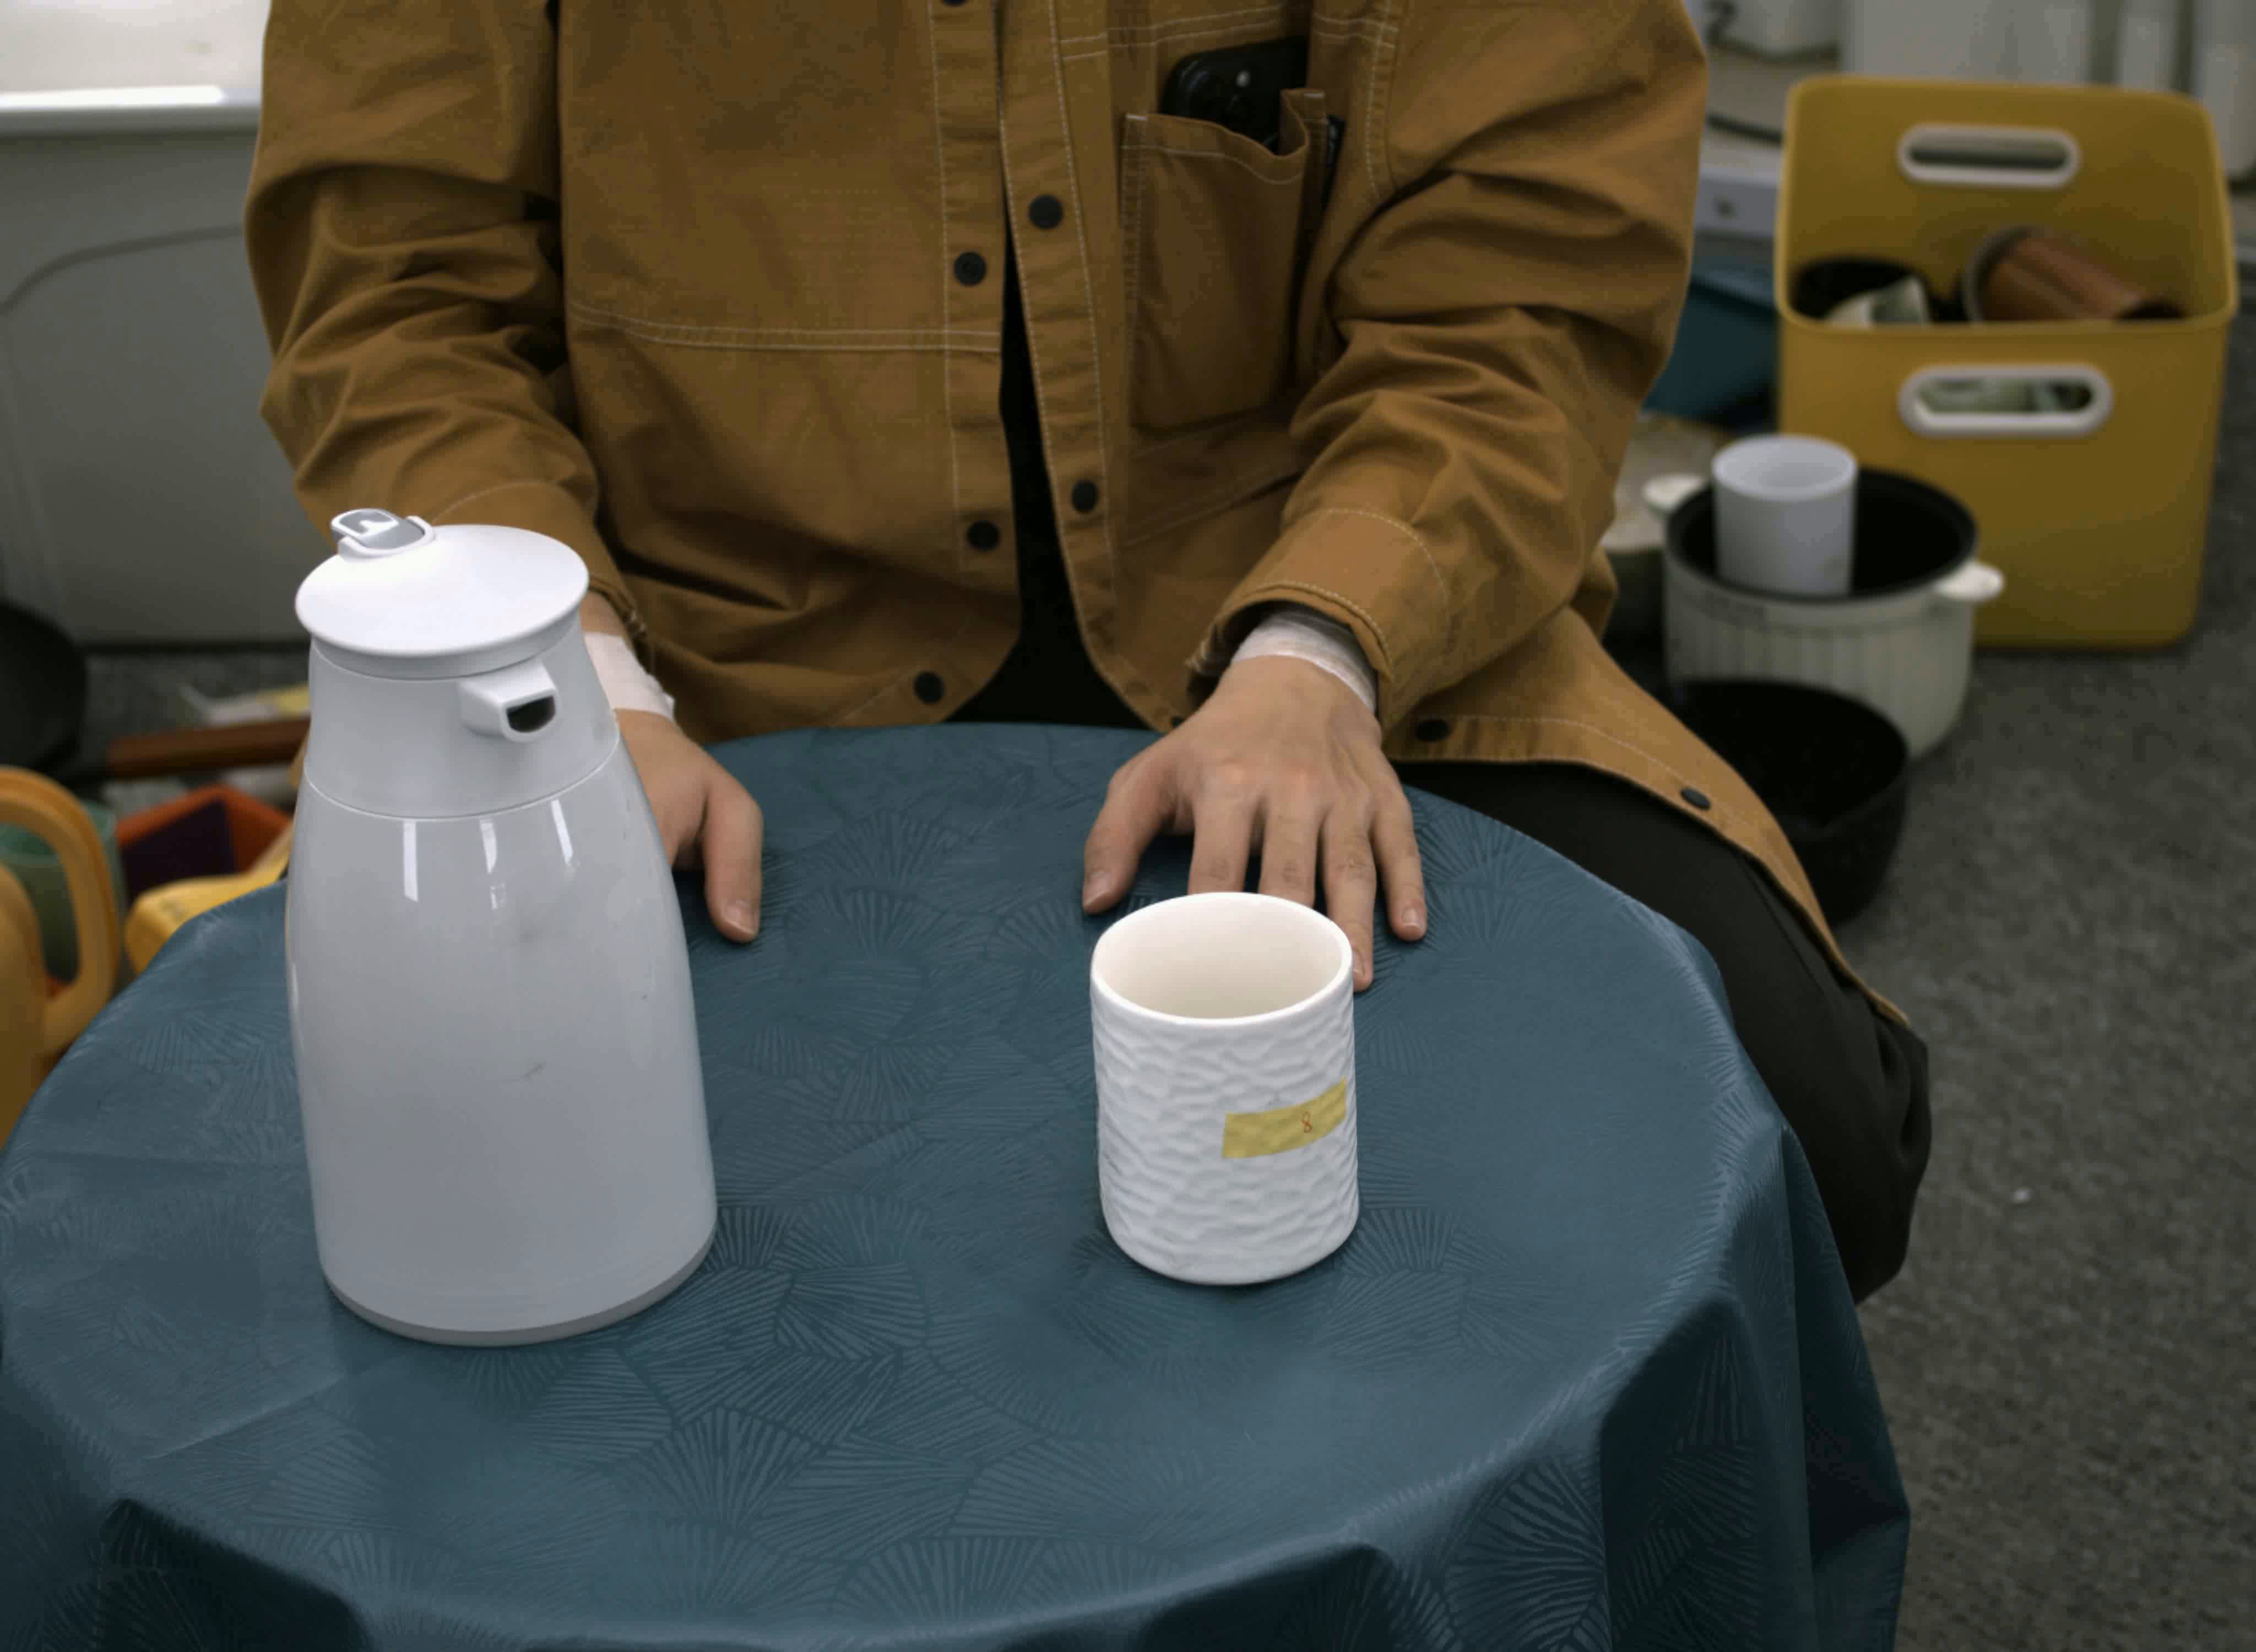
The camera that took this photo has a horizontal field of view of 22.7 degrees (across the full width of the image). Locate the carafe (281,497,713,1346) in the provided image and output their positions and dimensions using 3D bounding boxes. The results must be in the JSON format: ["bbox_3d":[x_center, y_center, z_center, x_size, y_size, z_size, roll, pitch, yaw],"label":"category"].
[{"bbox_3d":[-0.219,0.021,1.809,0.133,0.246,0.168,-18,30,-27],"label":"carafe"}]

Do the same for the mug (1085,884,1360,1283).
[{"bbox_3d":[0.028,0.077,1.828,0.085,0.101,0.120,-8,29,-8],"label":"mug"}]
